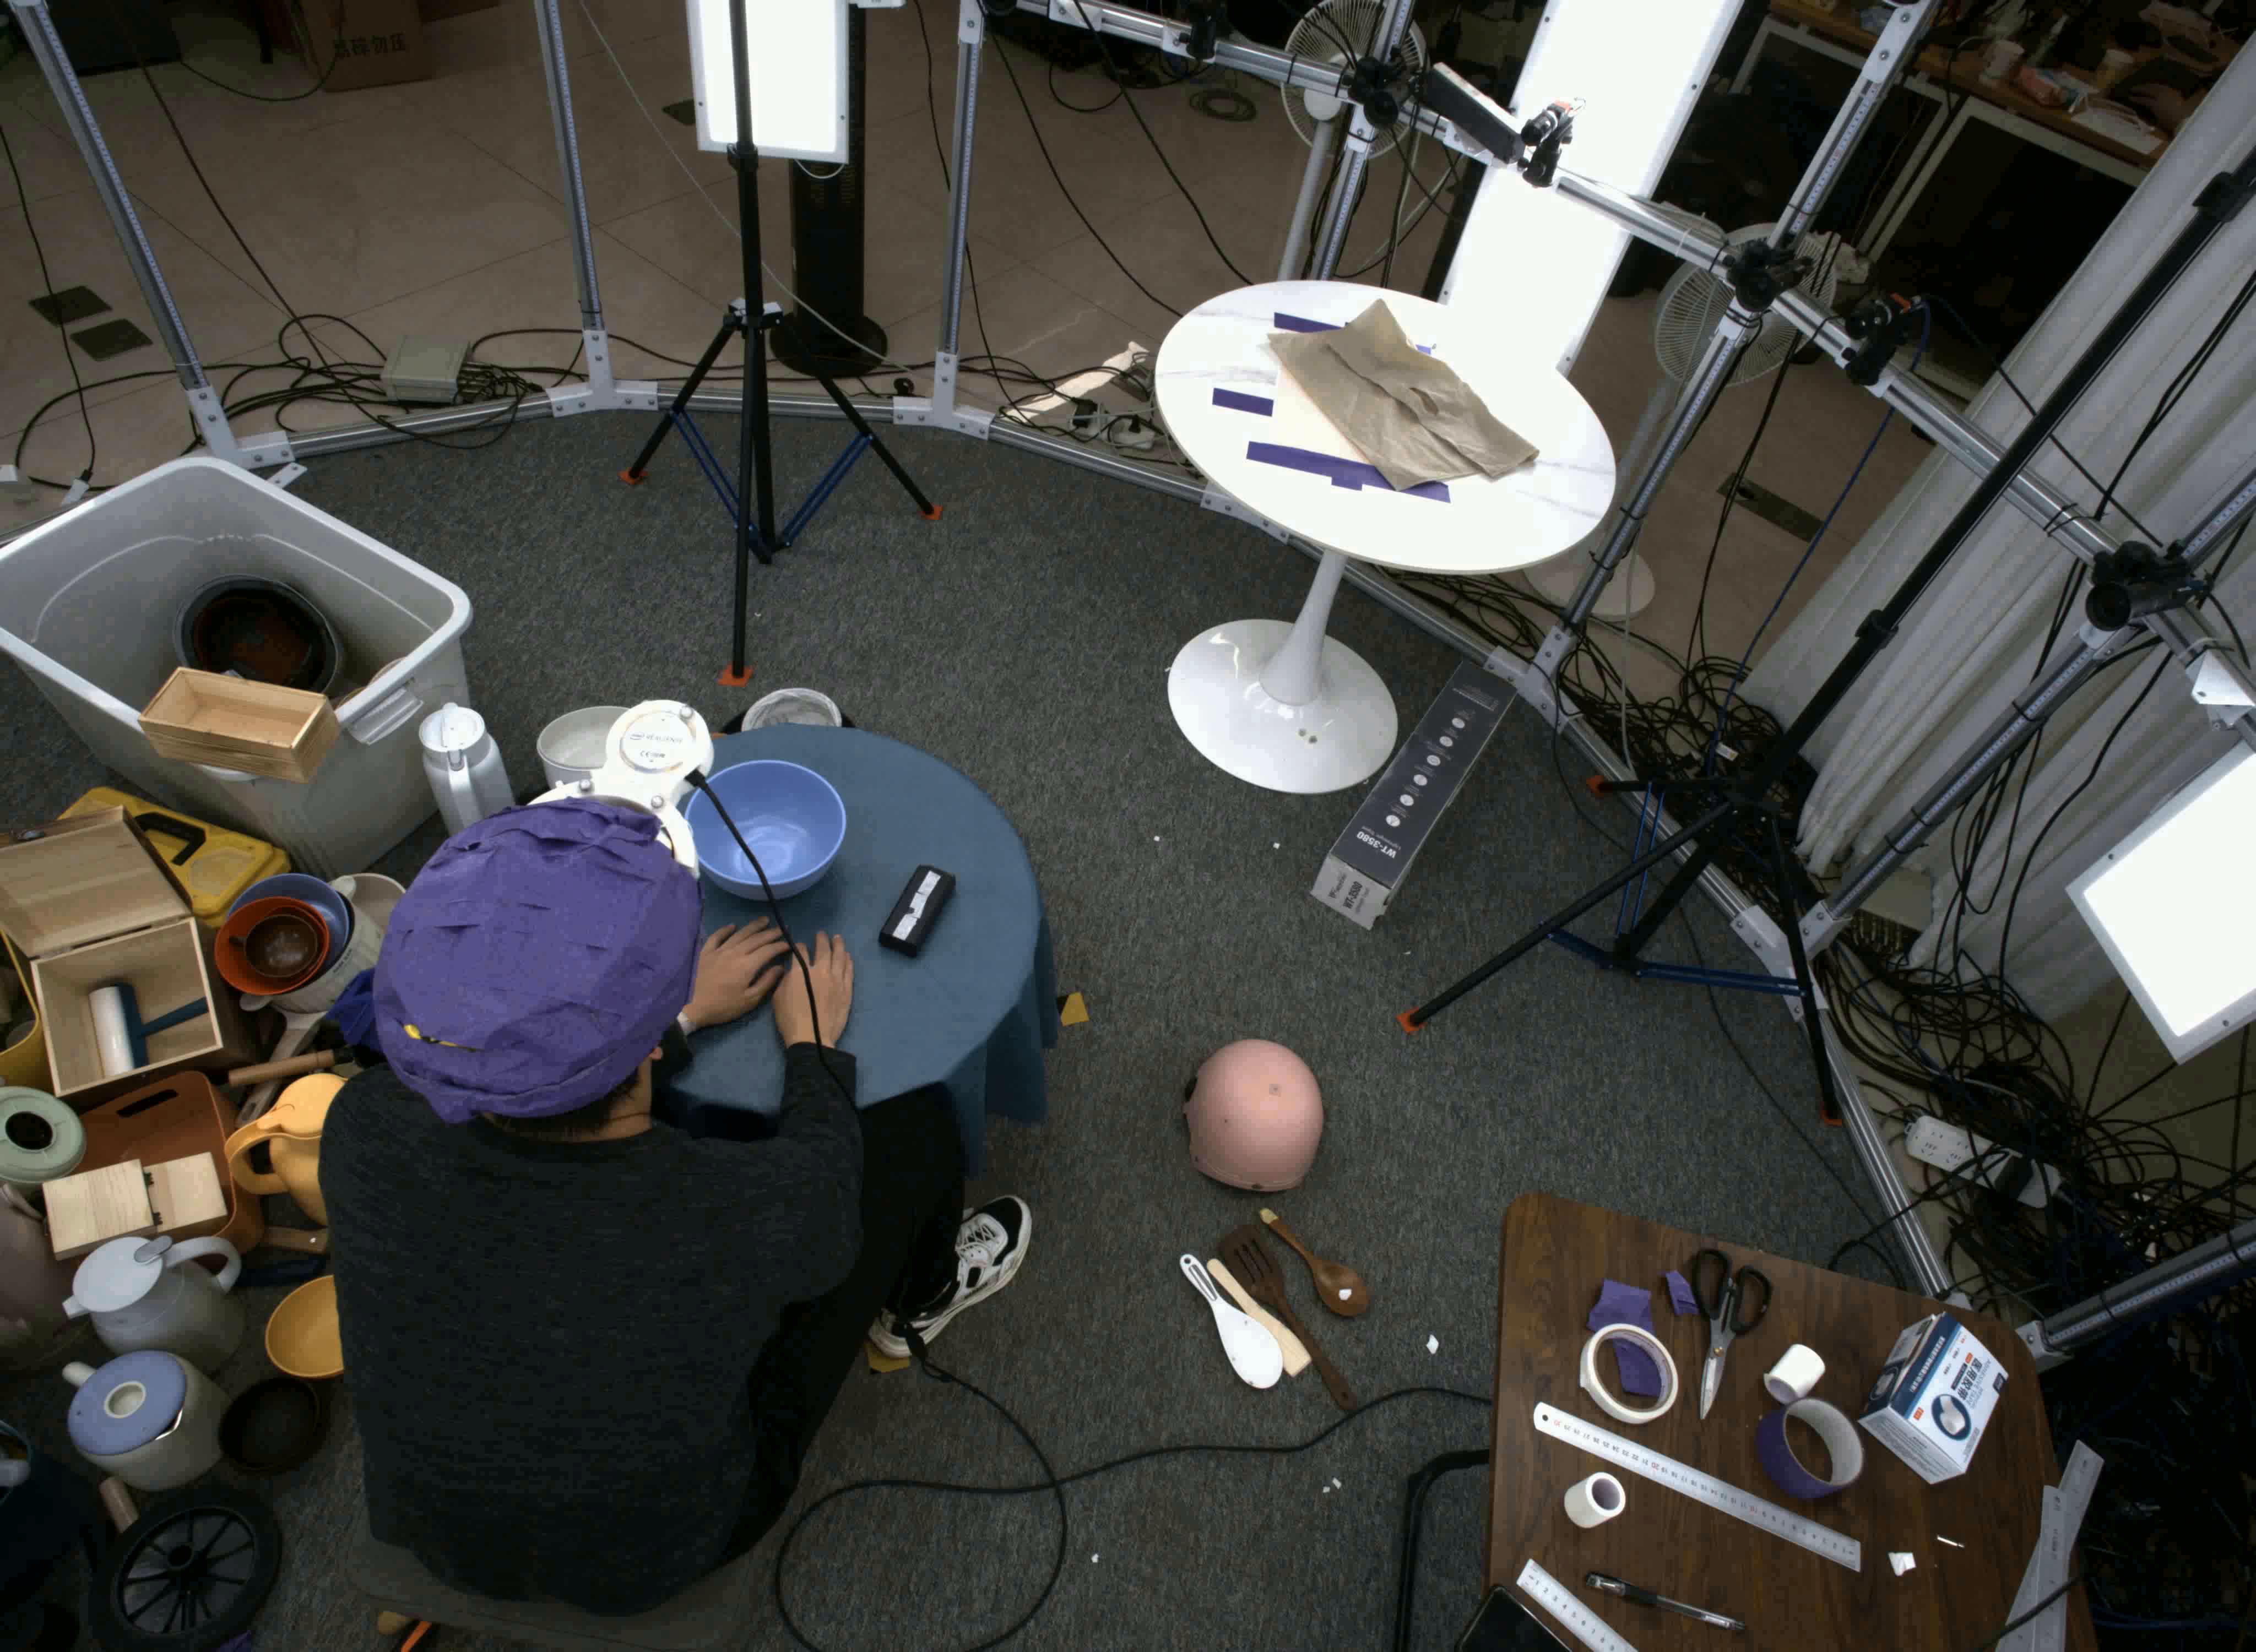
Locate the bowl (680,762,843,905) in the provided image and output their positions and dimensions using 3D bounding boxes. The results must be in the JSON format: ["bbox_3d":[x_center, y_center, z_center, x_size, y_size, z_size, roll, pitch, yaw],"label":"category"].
[{"bbox_3d":[-0.463,0.023,1.630,0.197,0.097,0.193,12,50,-13],"label":"bowl"}]

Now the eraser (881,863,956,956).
[{"bbox_3d":[-0.267,0.104,1.664,0.053,0.031,0.124,19,52,4],"label":"eraser"}]
